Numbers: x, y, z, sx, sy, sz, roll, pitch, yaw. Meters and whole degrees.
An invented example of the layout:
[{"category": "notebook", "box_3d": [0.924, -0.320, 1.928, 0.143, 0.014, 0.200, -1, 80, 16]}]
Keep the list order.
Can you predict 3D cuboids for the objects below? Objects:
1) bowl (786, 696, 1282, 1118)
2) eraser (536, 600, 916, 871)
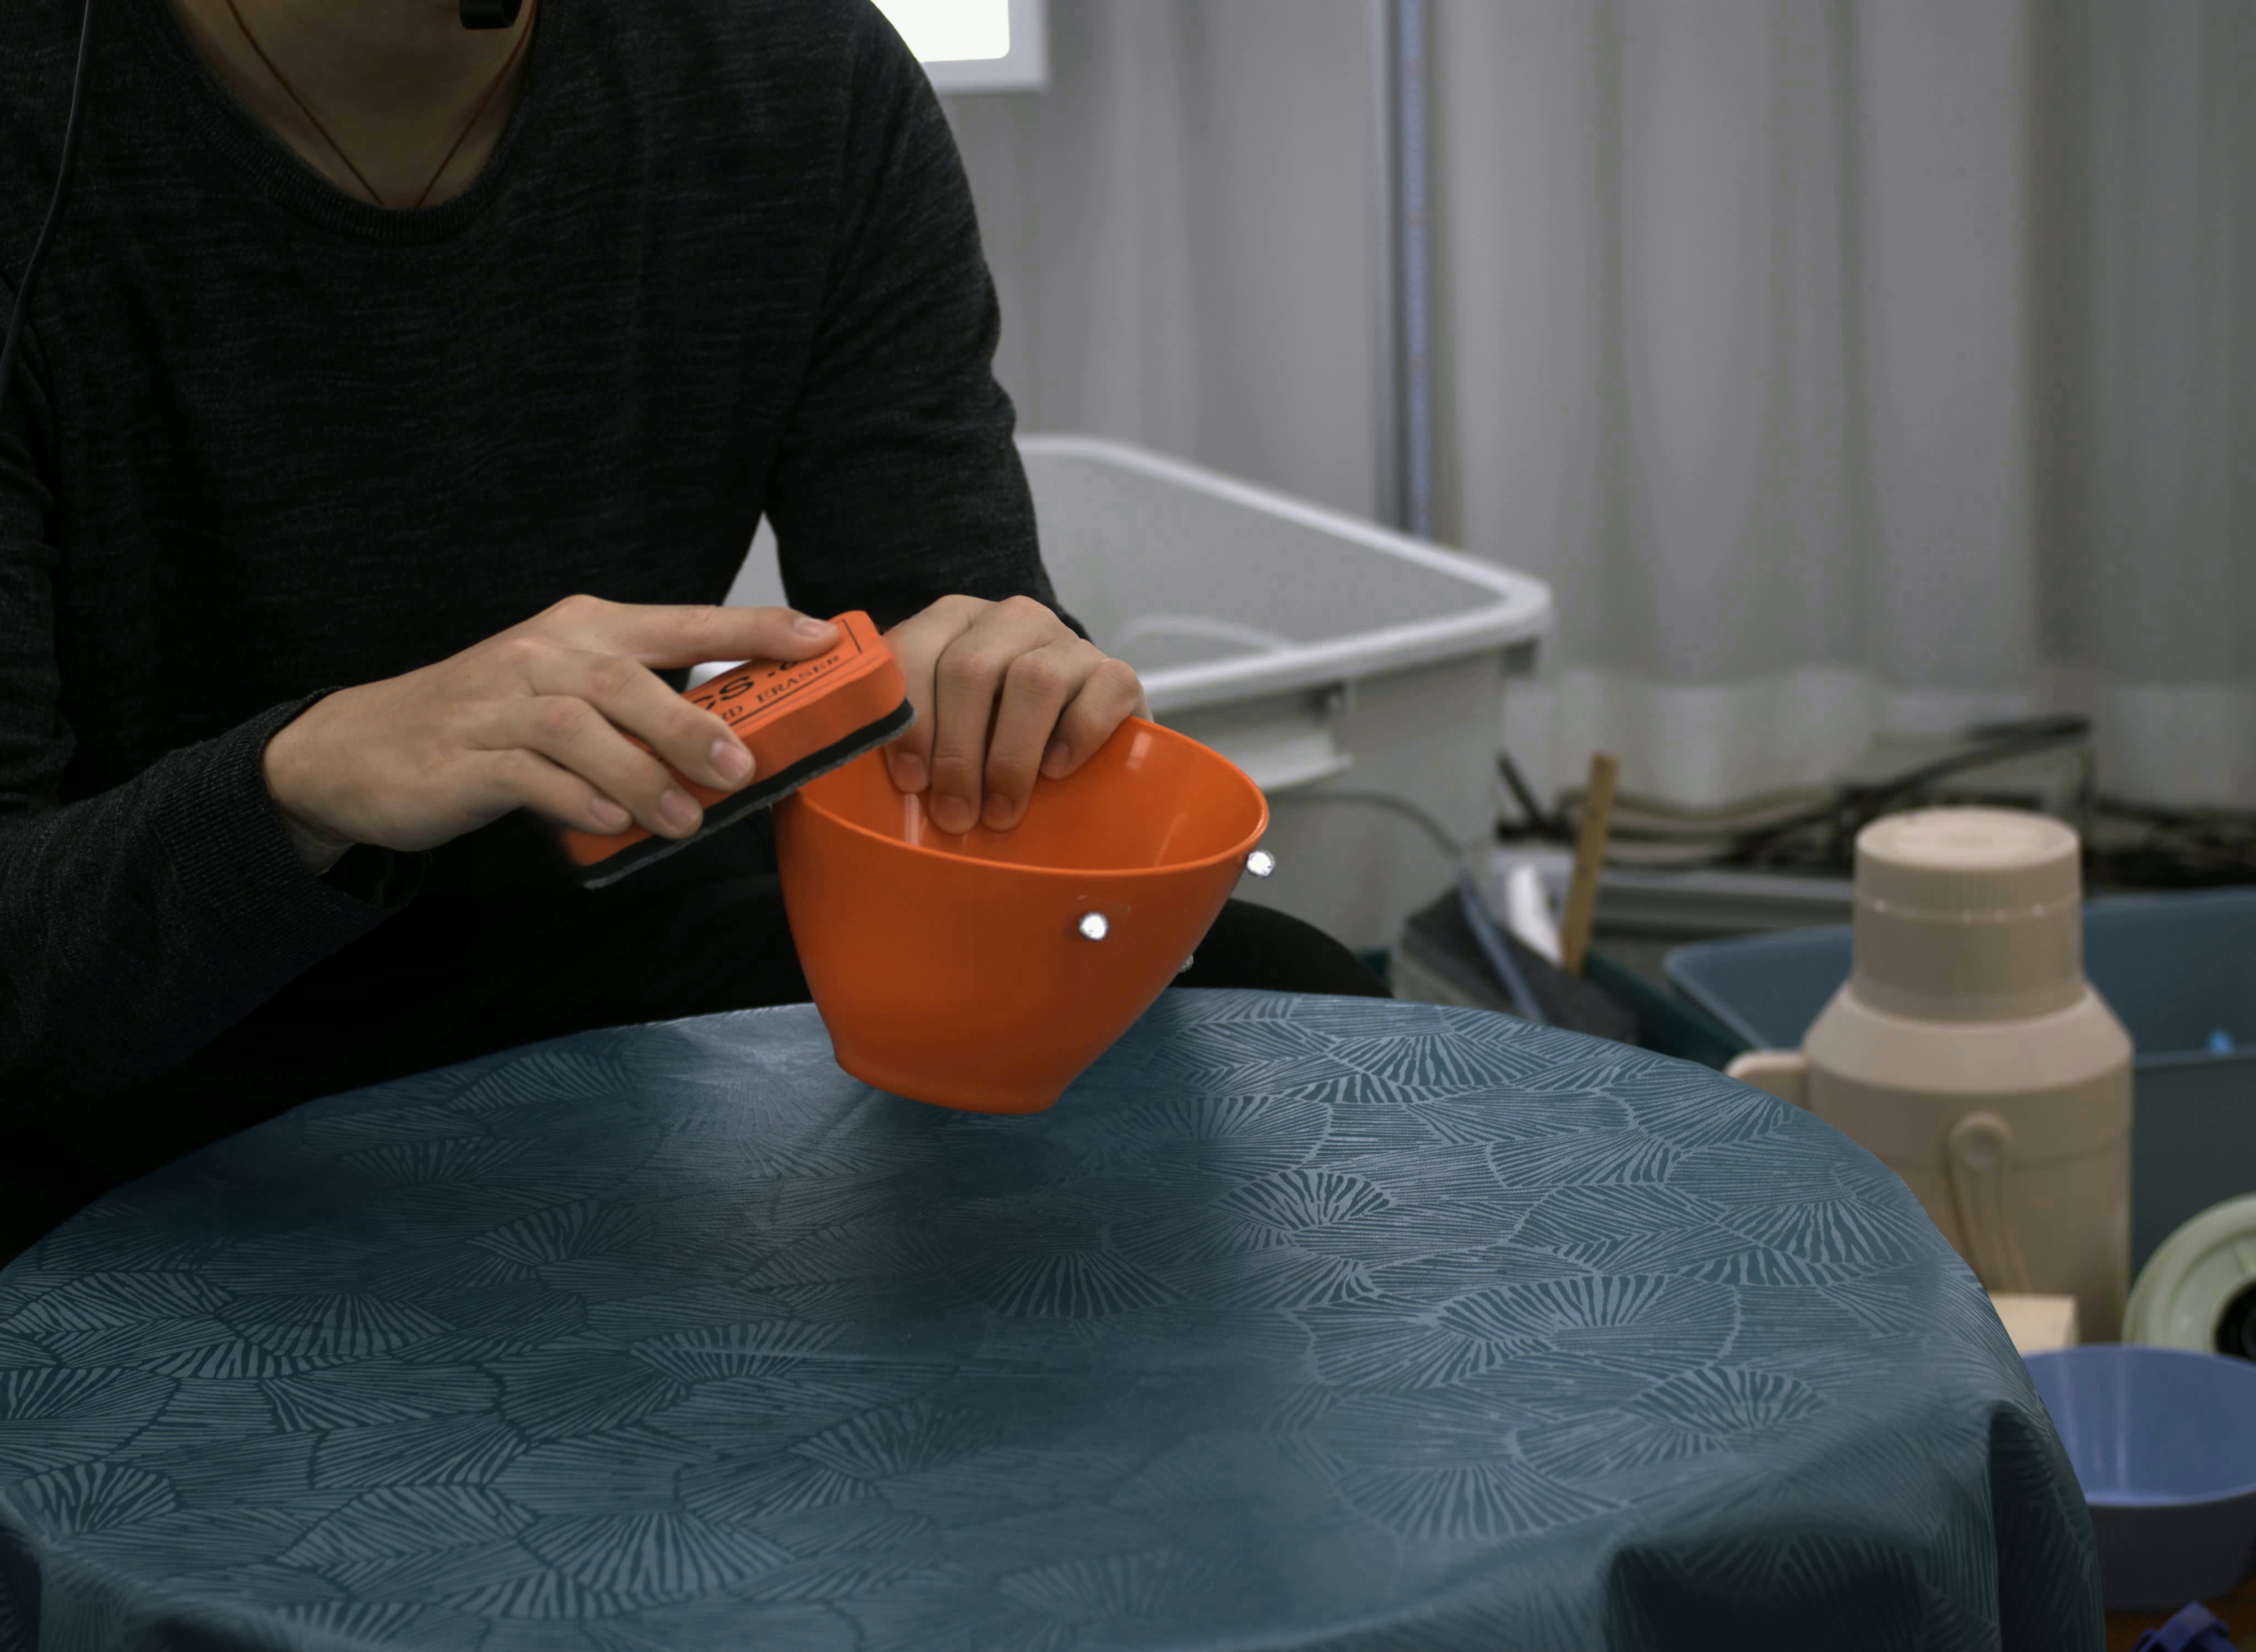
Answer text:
[{"category": "bowl", "box_3d": [-0.036, 0.026, 1.610, 0.147, 0.104, 0.148, 12, 9, -2]}, {"category": "eraser", "box_3d": [-0.117, -0.027, 1.583, 0.108, 0.022, 0.059, -26, 24, -4]}]
